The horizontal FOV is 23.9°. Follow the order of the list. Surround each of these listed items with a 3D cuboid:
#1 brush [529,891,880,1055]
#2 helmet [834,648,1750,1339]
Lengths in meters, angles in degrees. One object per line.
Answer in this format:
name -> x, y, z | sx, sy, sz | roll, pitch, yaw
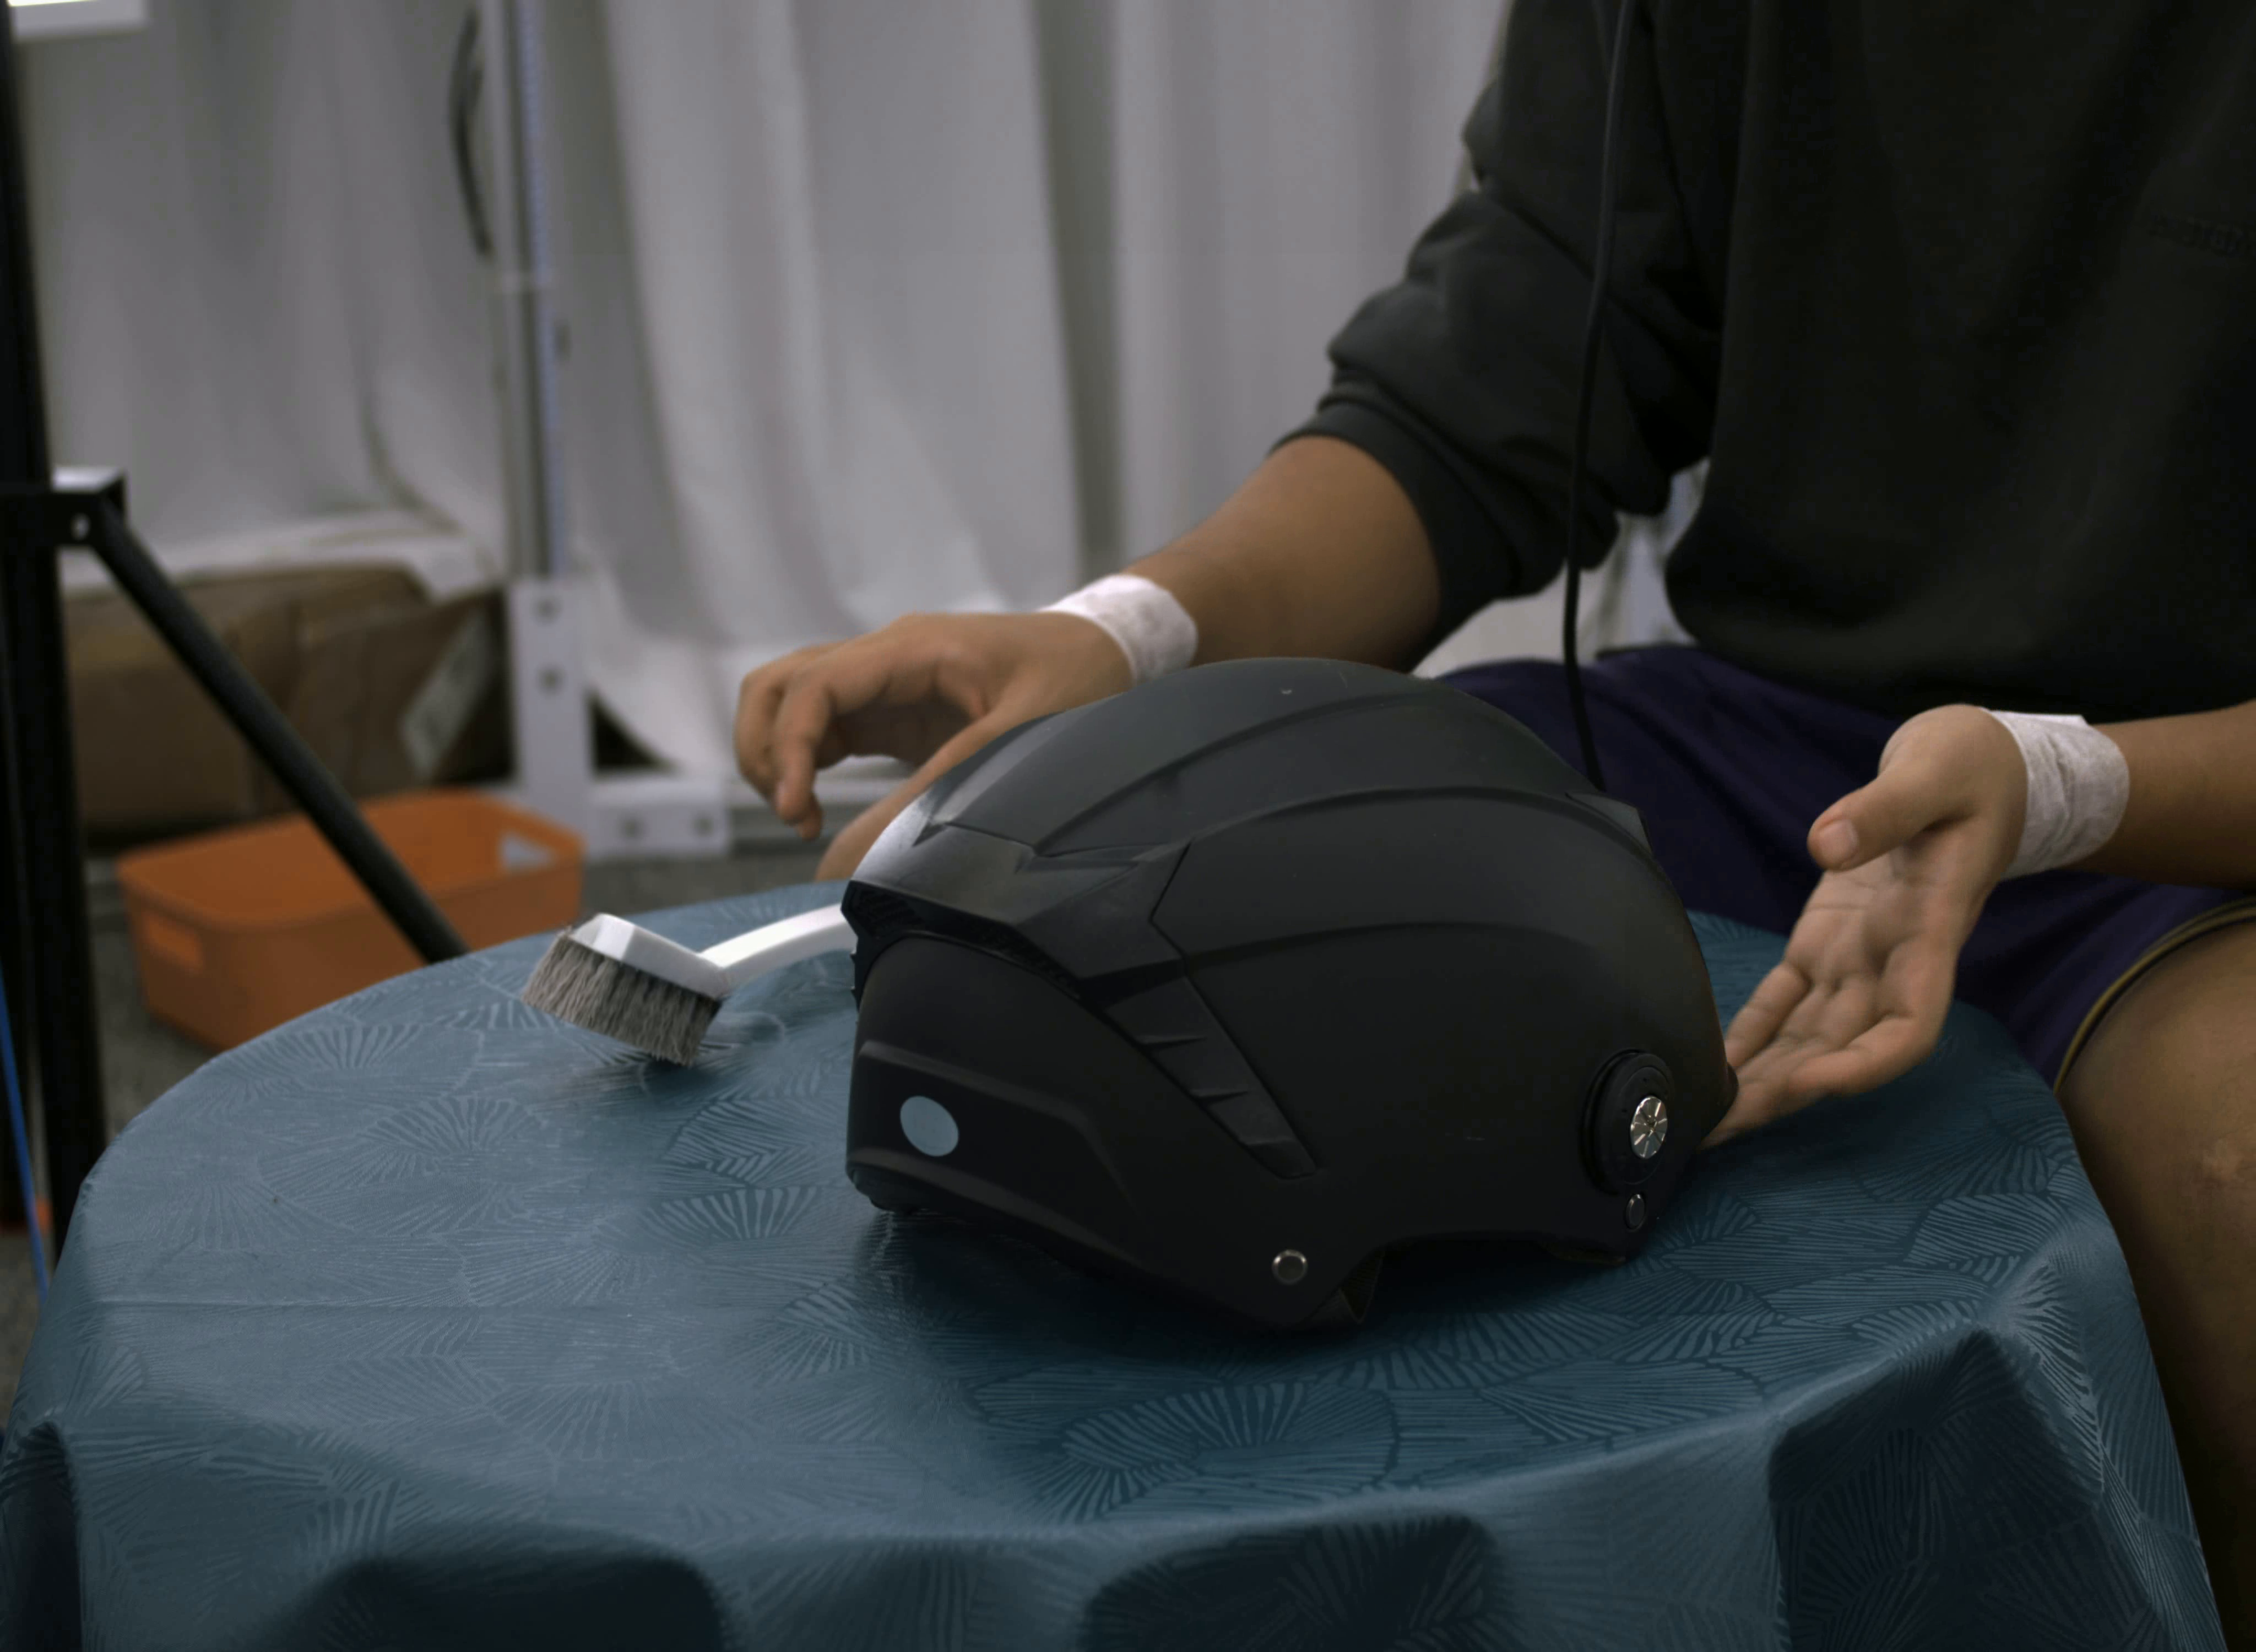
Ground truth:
brush -> -0.104, 0.046, 1.753 | 0.035, 0.050, 0.237 | 19, 12, 36
helmet -> 0.047, 0.035, 1.517 | 0.270, 0.172, 0.252 | -17, 21, -37
